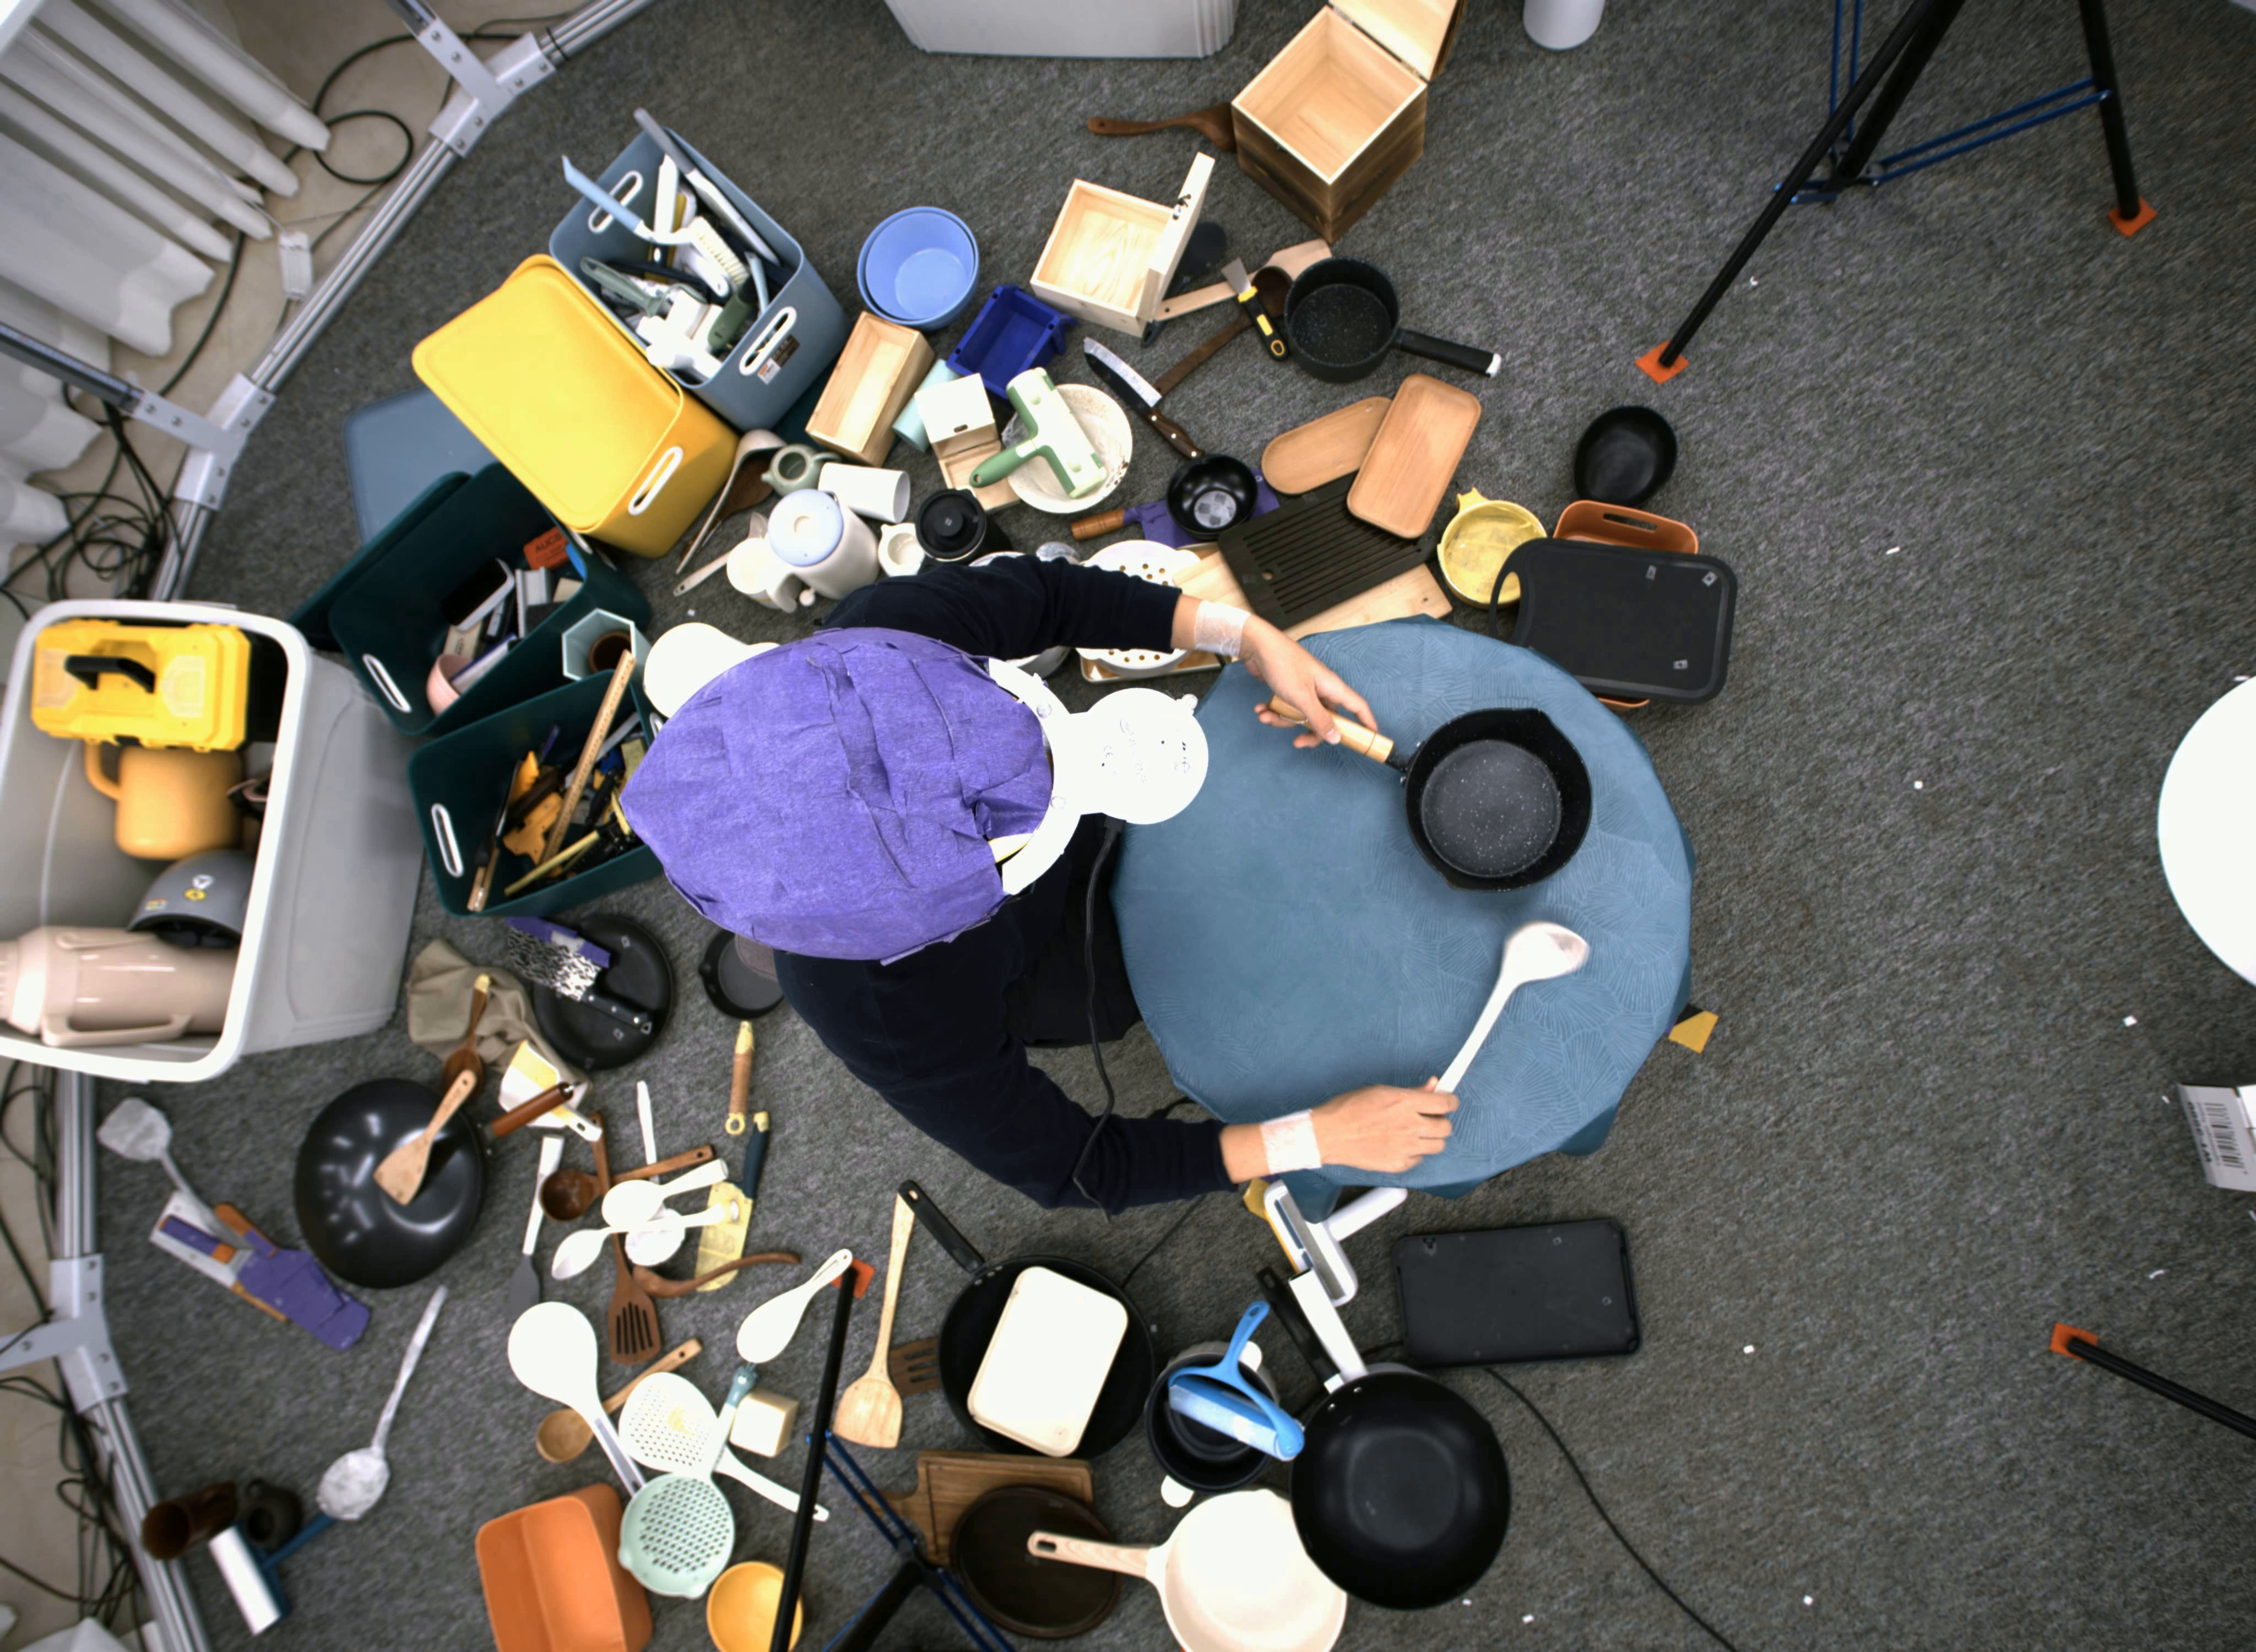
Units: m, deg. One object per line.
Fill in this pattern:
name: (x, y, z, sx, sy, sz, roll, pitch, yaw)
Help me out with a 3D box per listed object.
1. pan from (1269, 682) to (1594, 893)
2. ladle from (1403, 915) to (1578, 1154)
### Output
pan: (0.301, -0.058, 1.407, 0.342, 0.108, 0.208, 25, 92, 9)
ladle: (0.362, 0.212, 1.381, 0.090, 0.069, 0.273, 34, 81, -33)
